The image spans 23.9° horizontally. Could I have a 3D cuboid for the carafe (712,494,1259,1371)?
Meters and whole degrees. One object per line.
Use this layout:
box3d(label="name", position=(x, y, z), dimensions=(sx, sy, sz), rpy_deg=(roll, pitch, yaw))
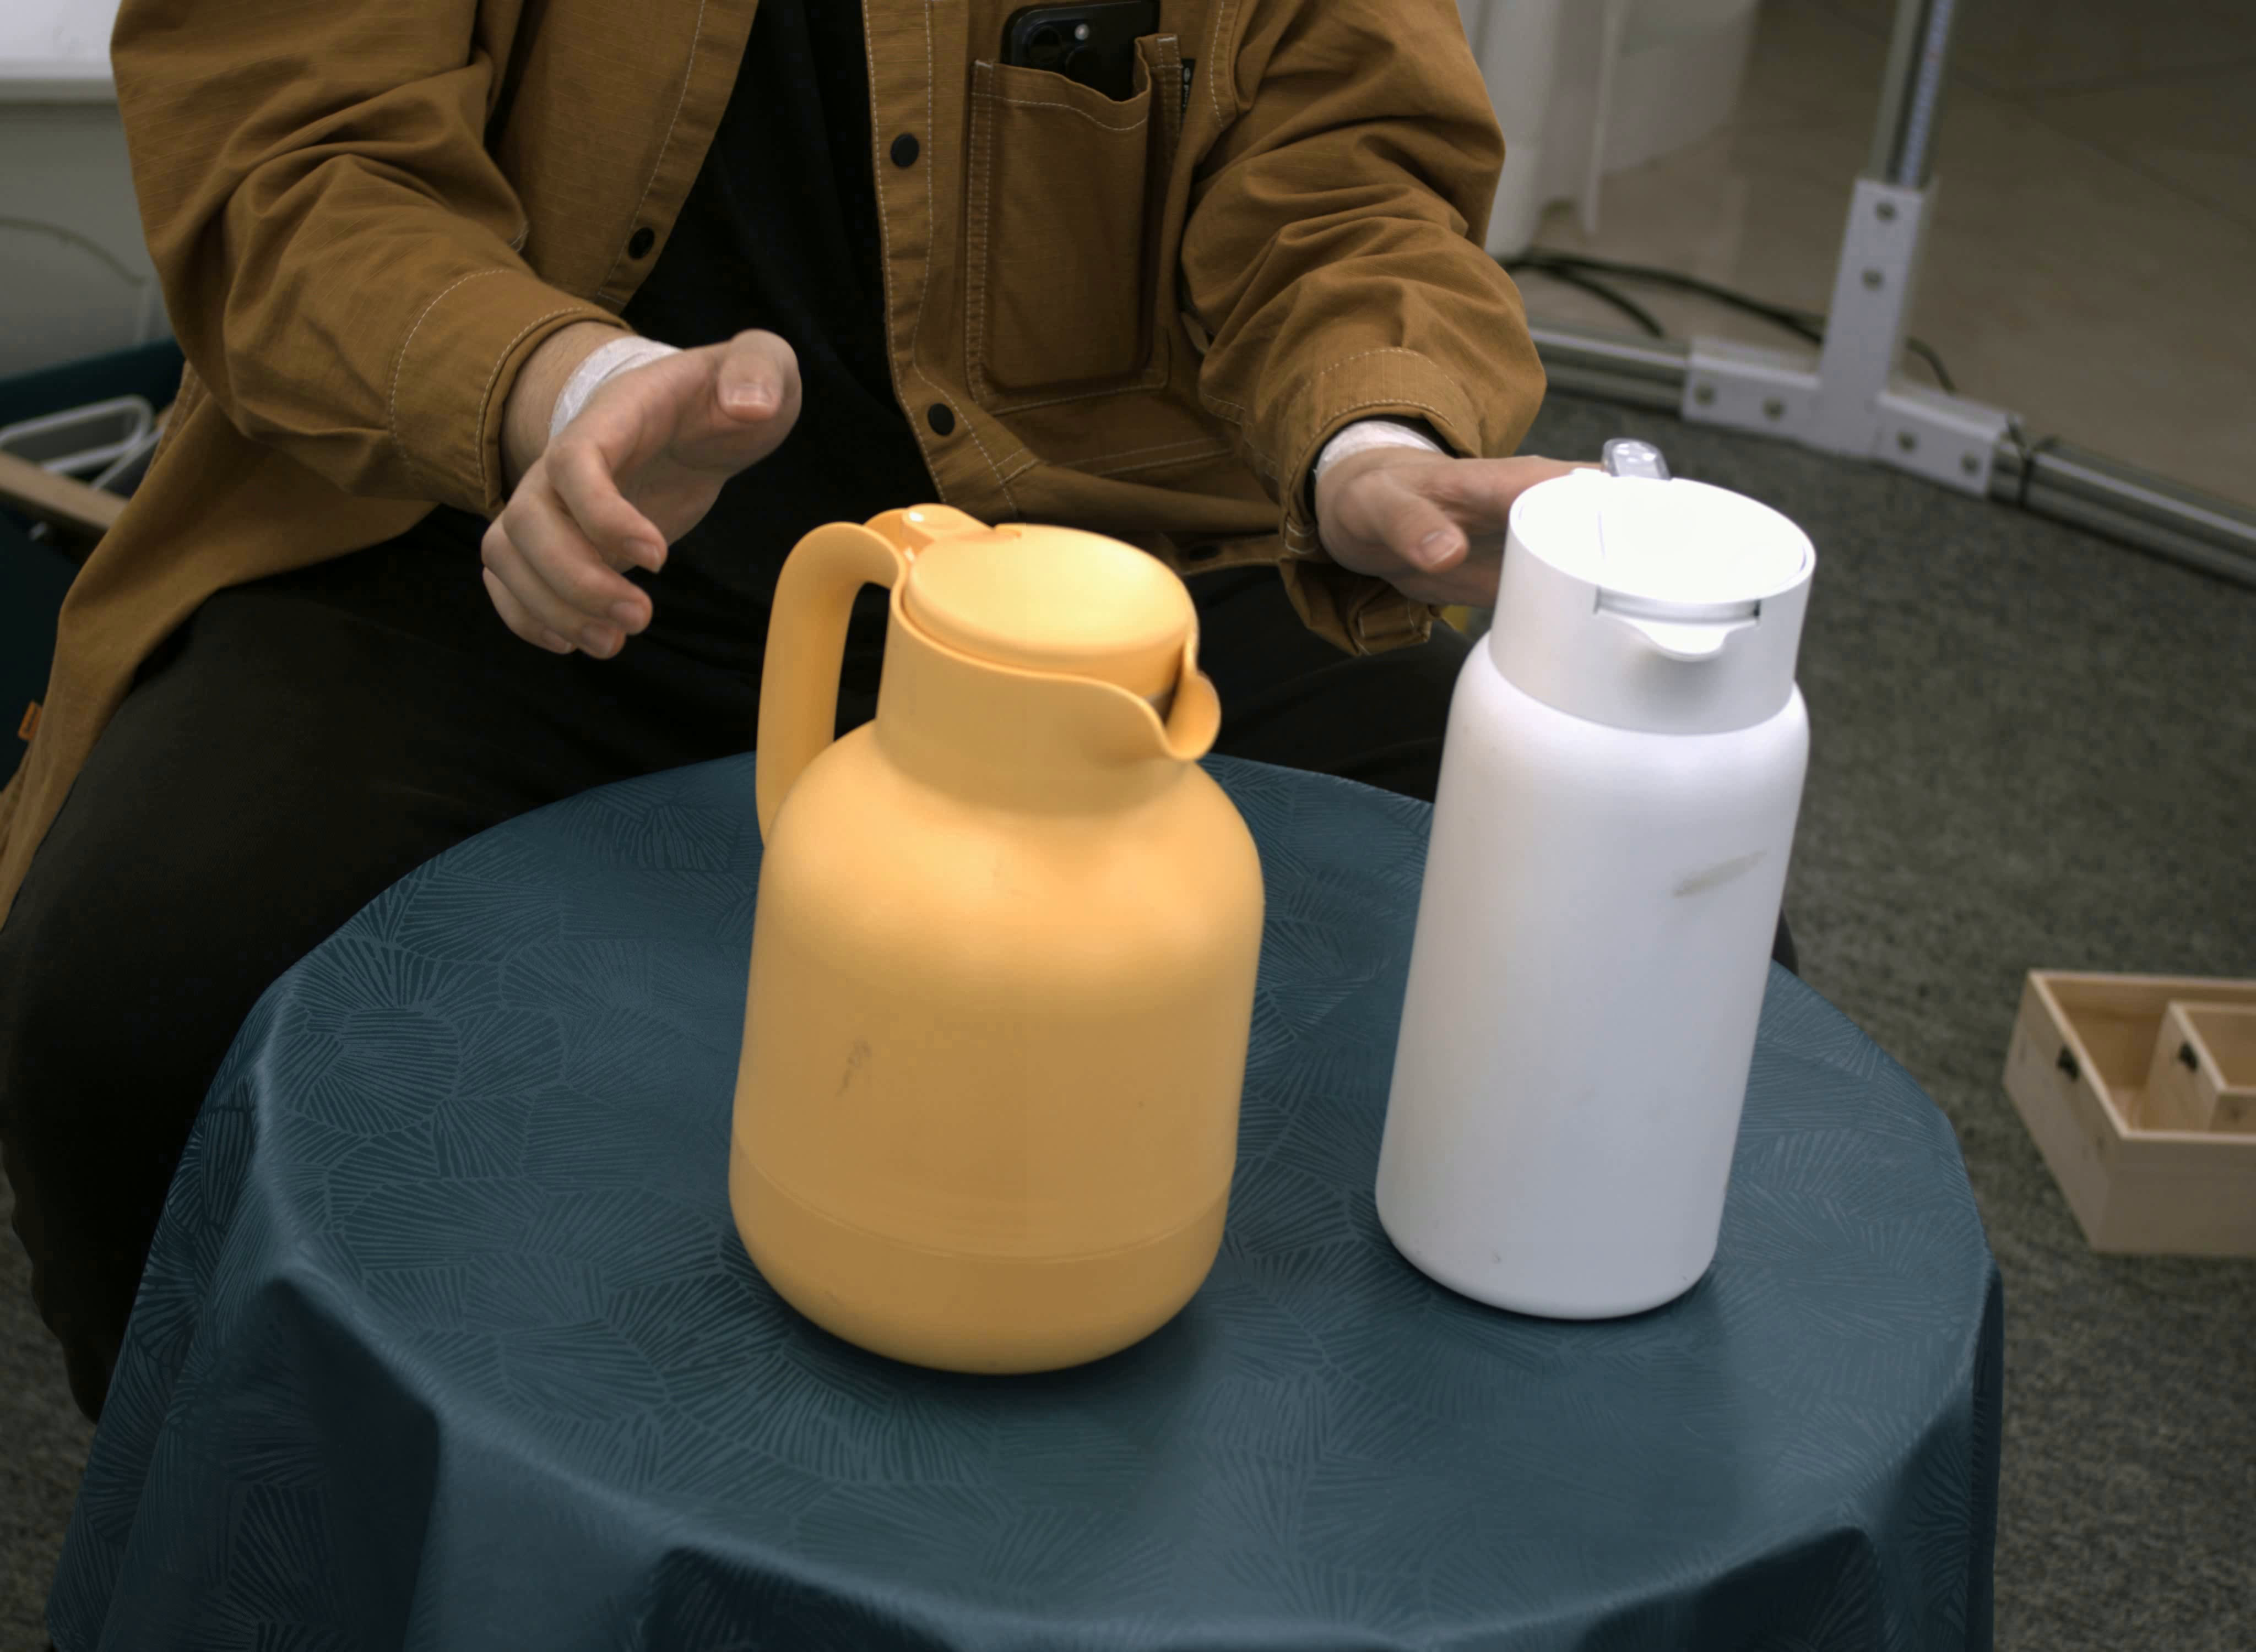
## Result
box3d(label="carafe", position=(-0.051, 0.024, 1.700), dimensions=(0.162, 0.260, 0.204), rpy_deg=(-10, 32, -37))

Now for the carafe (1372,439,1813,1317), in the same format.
box3d(label="carafe", position=(0.152, 0.014, 1.761), dimensions=(0.123, 0.268, 0.174), rpy_deg=(2, 27, -6))
